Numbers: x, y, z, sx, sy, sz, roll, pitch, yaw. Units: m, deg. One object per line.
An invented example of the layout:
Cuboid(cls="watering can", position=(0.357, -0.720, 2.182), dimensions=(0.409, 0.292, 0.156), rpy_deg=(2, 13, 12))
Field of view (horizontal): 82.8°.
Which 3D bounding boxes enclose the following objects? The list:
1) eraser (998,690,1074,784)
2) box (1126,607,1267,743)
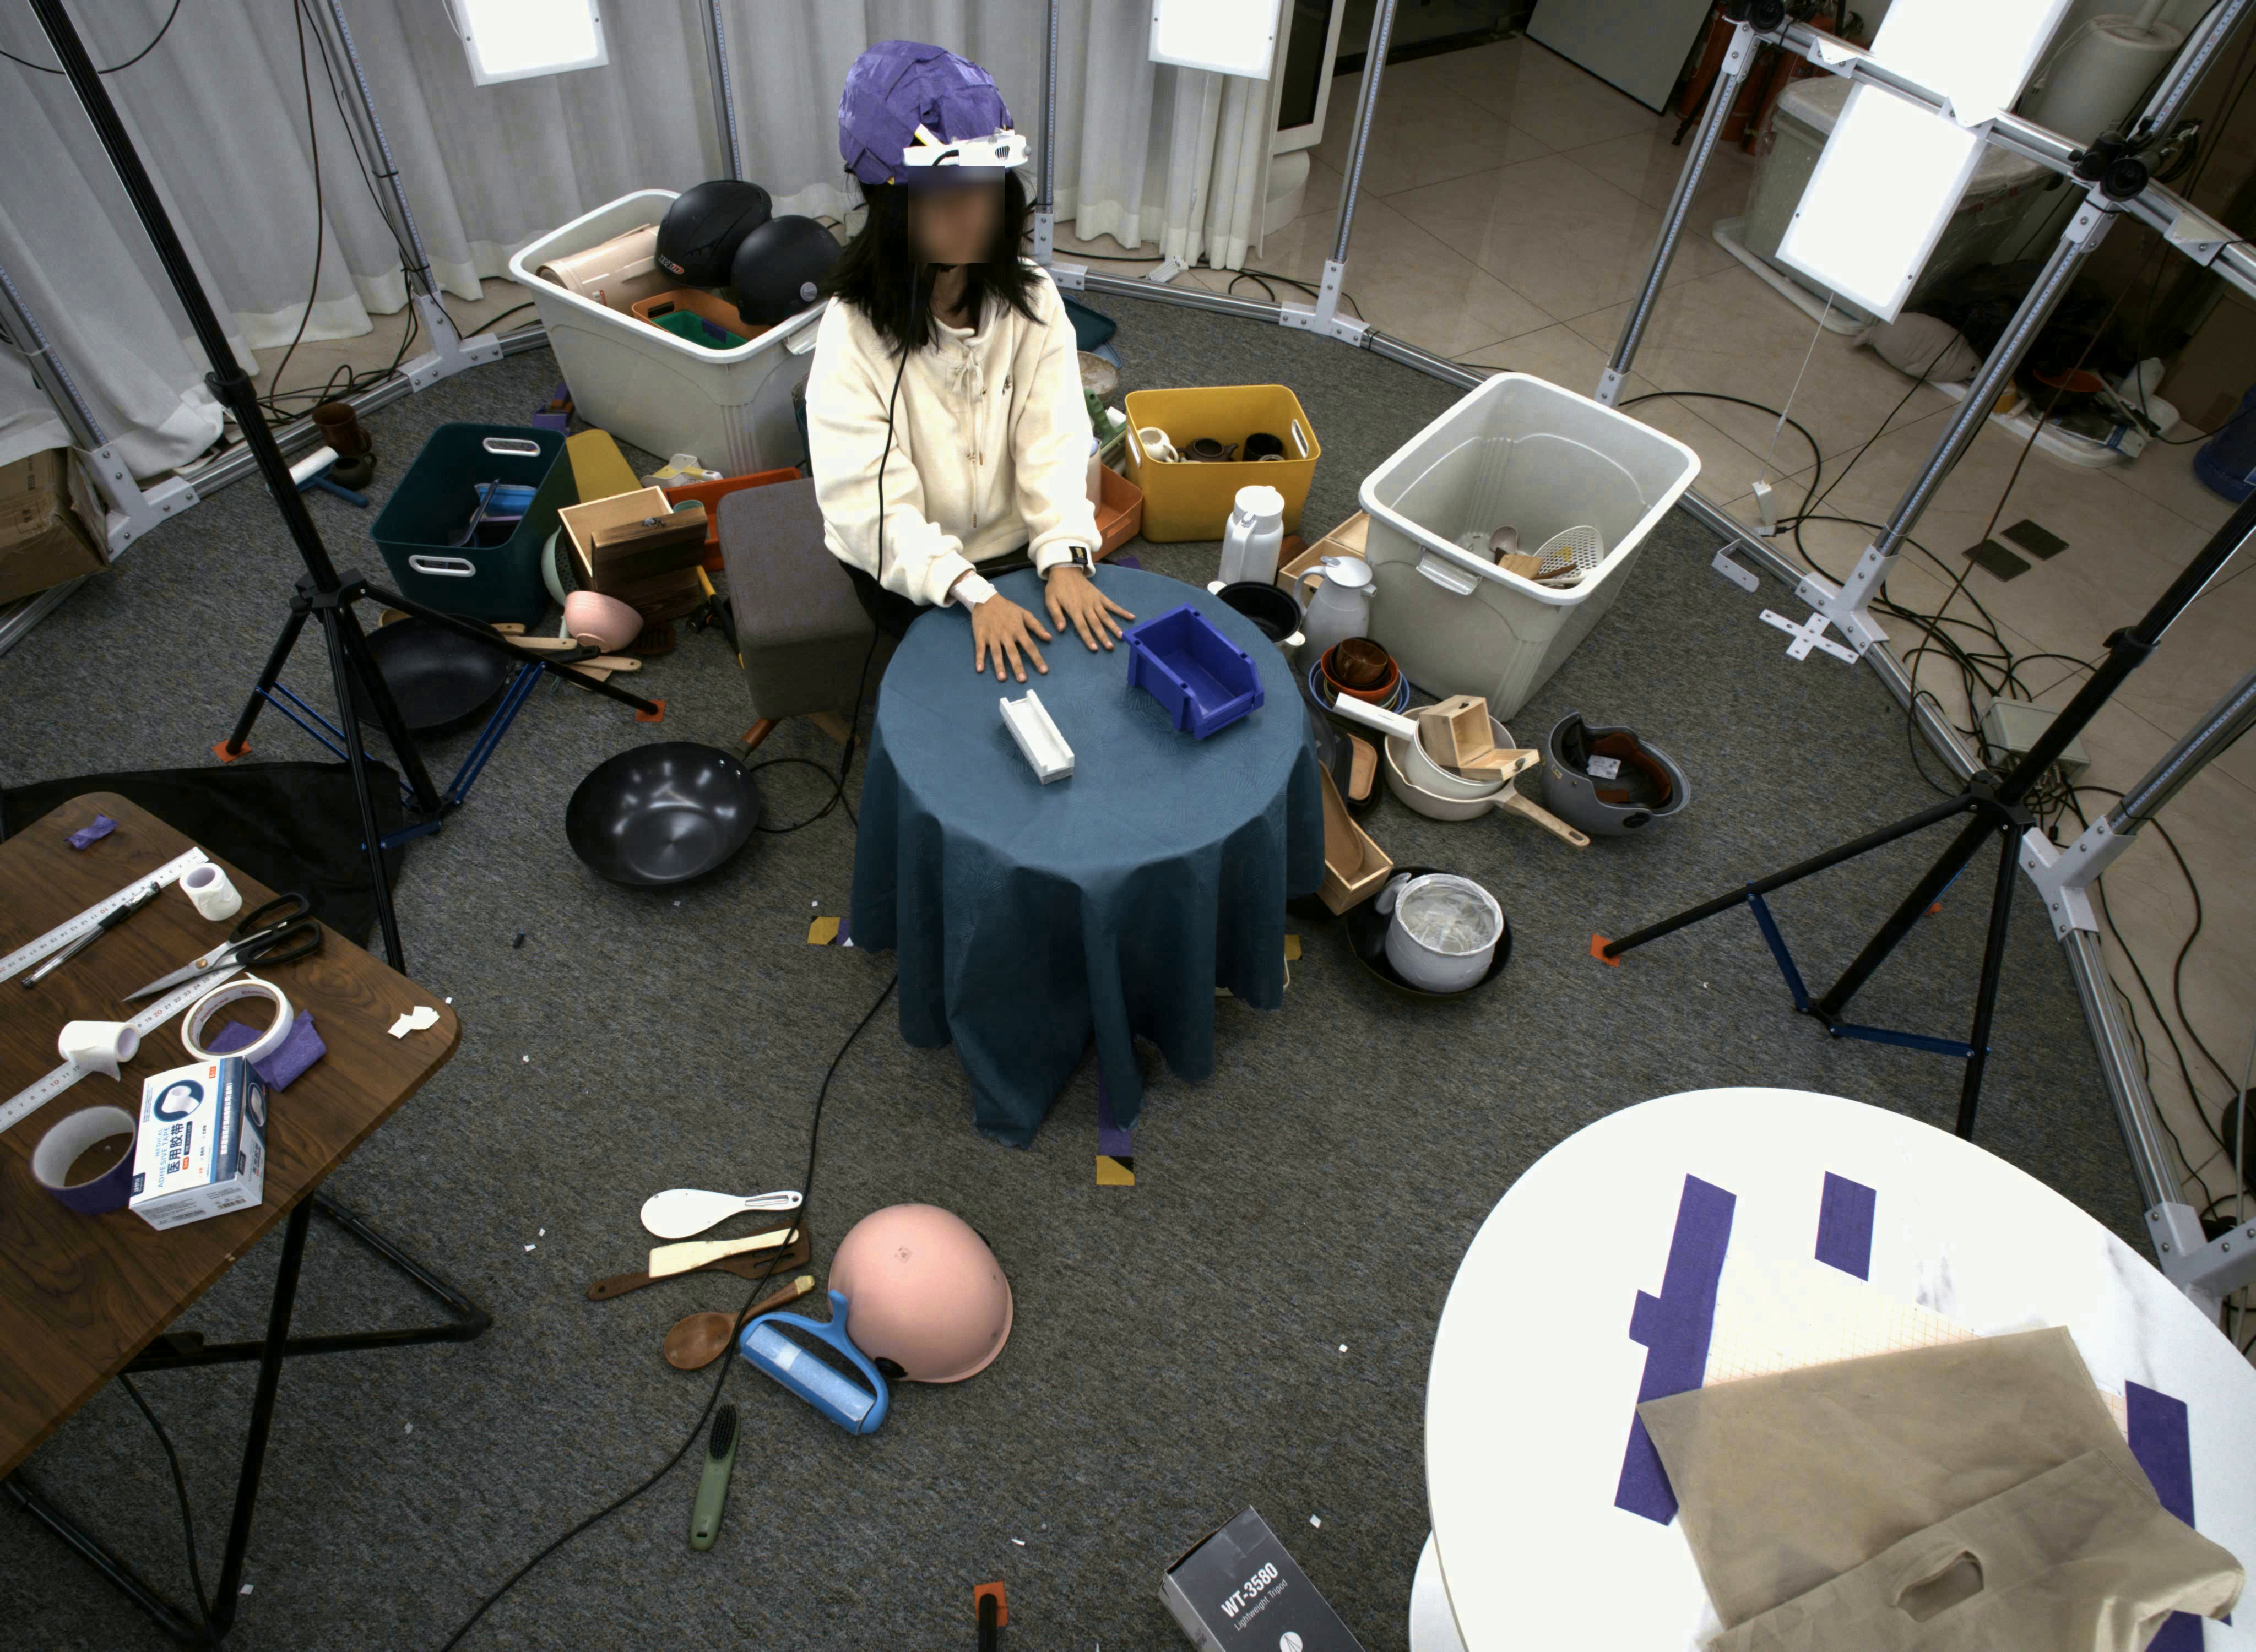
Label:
Cuboid(cls="eraser", position=(-0.125, -0.121, 1.736), dimensions=(0.050, 0.045, 0.137), rpy_deg=(-22, 56, -19))
Cuboid(cls="box", position=(0.098, -0.210, 1.806), dimensions=(0.125, 0.080, 0.183), rpy_deg=(-27, 54, -24))
